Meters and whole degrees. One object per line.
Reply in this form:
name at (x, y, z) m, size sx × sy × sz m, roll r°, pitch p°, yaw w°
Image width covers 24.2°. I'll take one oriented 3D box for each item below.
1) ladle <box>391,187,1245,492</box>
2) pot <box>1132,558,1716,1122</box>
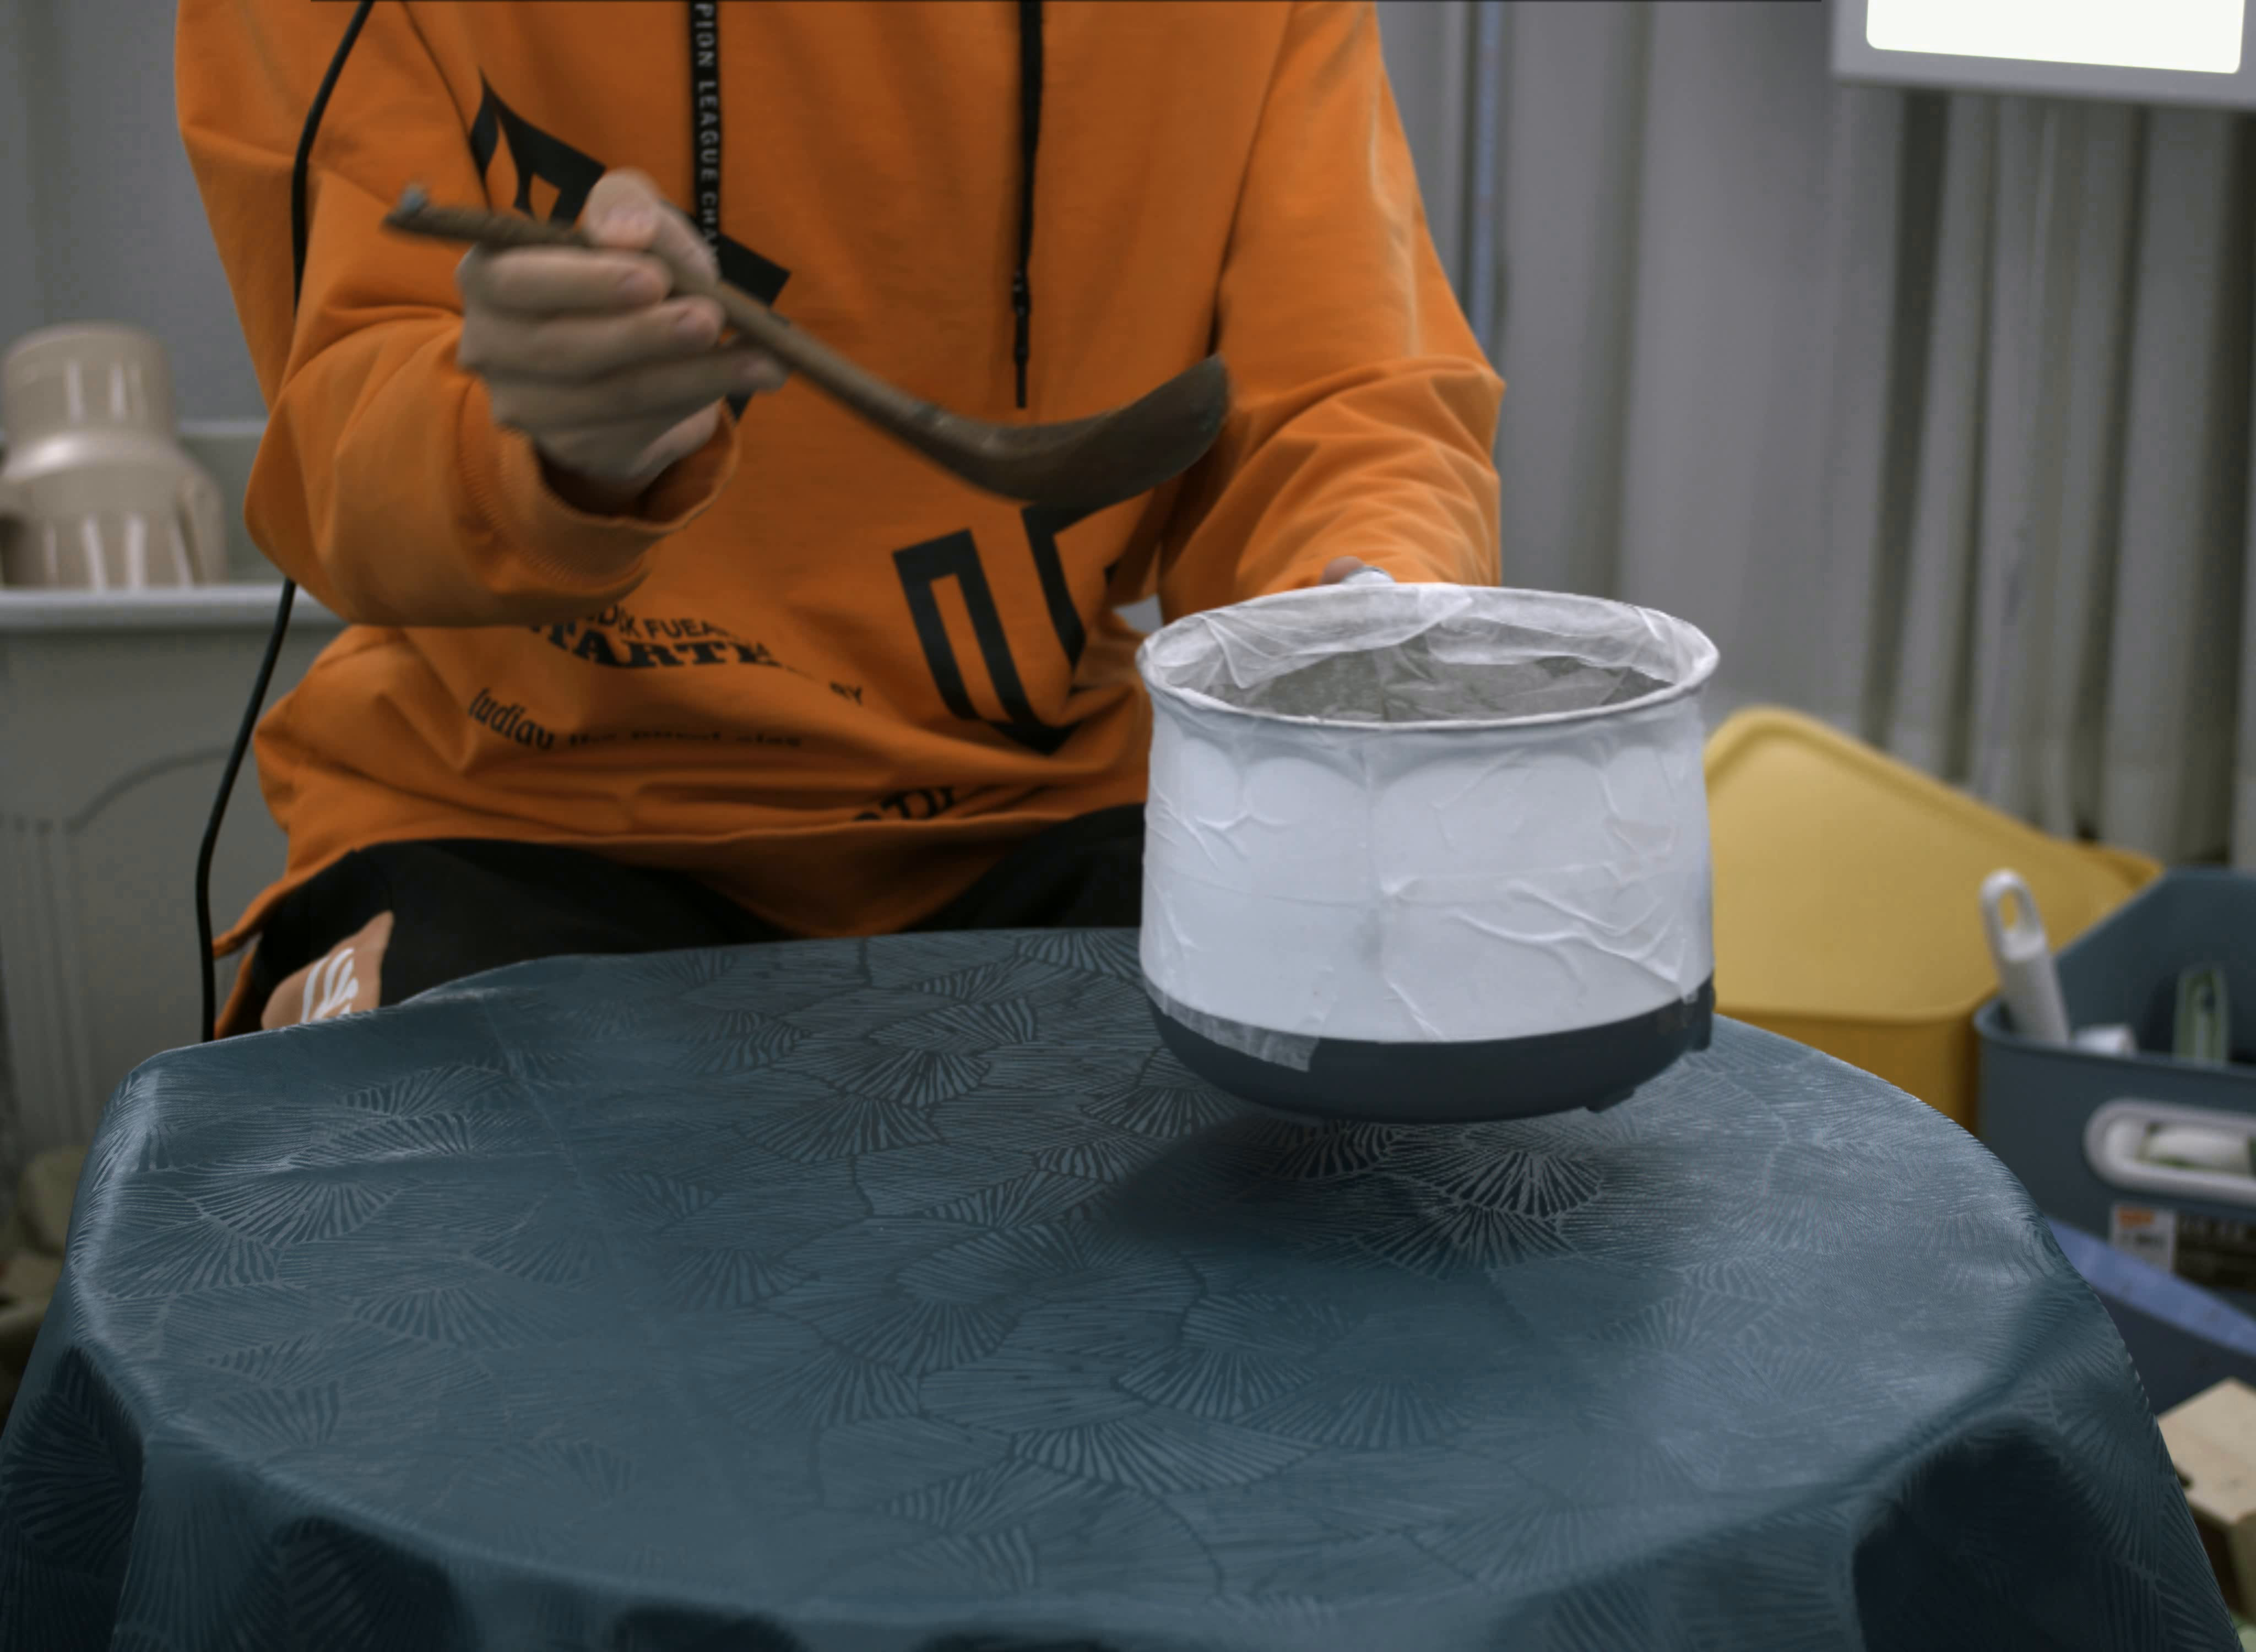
ladle at (-0.095, -0.170, 1.608) m, size 0.272 × 0.072 × 0.076 m, roll 25°, pitch 16°, yaw 11°
pot at (0.085, 0.000, 1.635) m, size 0.178 × 0.138 × 0.232 m, roll -3°, pitch 16°, yaw -9°
